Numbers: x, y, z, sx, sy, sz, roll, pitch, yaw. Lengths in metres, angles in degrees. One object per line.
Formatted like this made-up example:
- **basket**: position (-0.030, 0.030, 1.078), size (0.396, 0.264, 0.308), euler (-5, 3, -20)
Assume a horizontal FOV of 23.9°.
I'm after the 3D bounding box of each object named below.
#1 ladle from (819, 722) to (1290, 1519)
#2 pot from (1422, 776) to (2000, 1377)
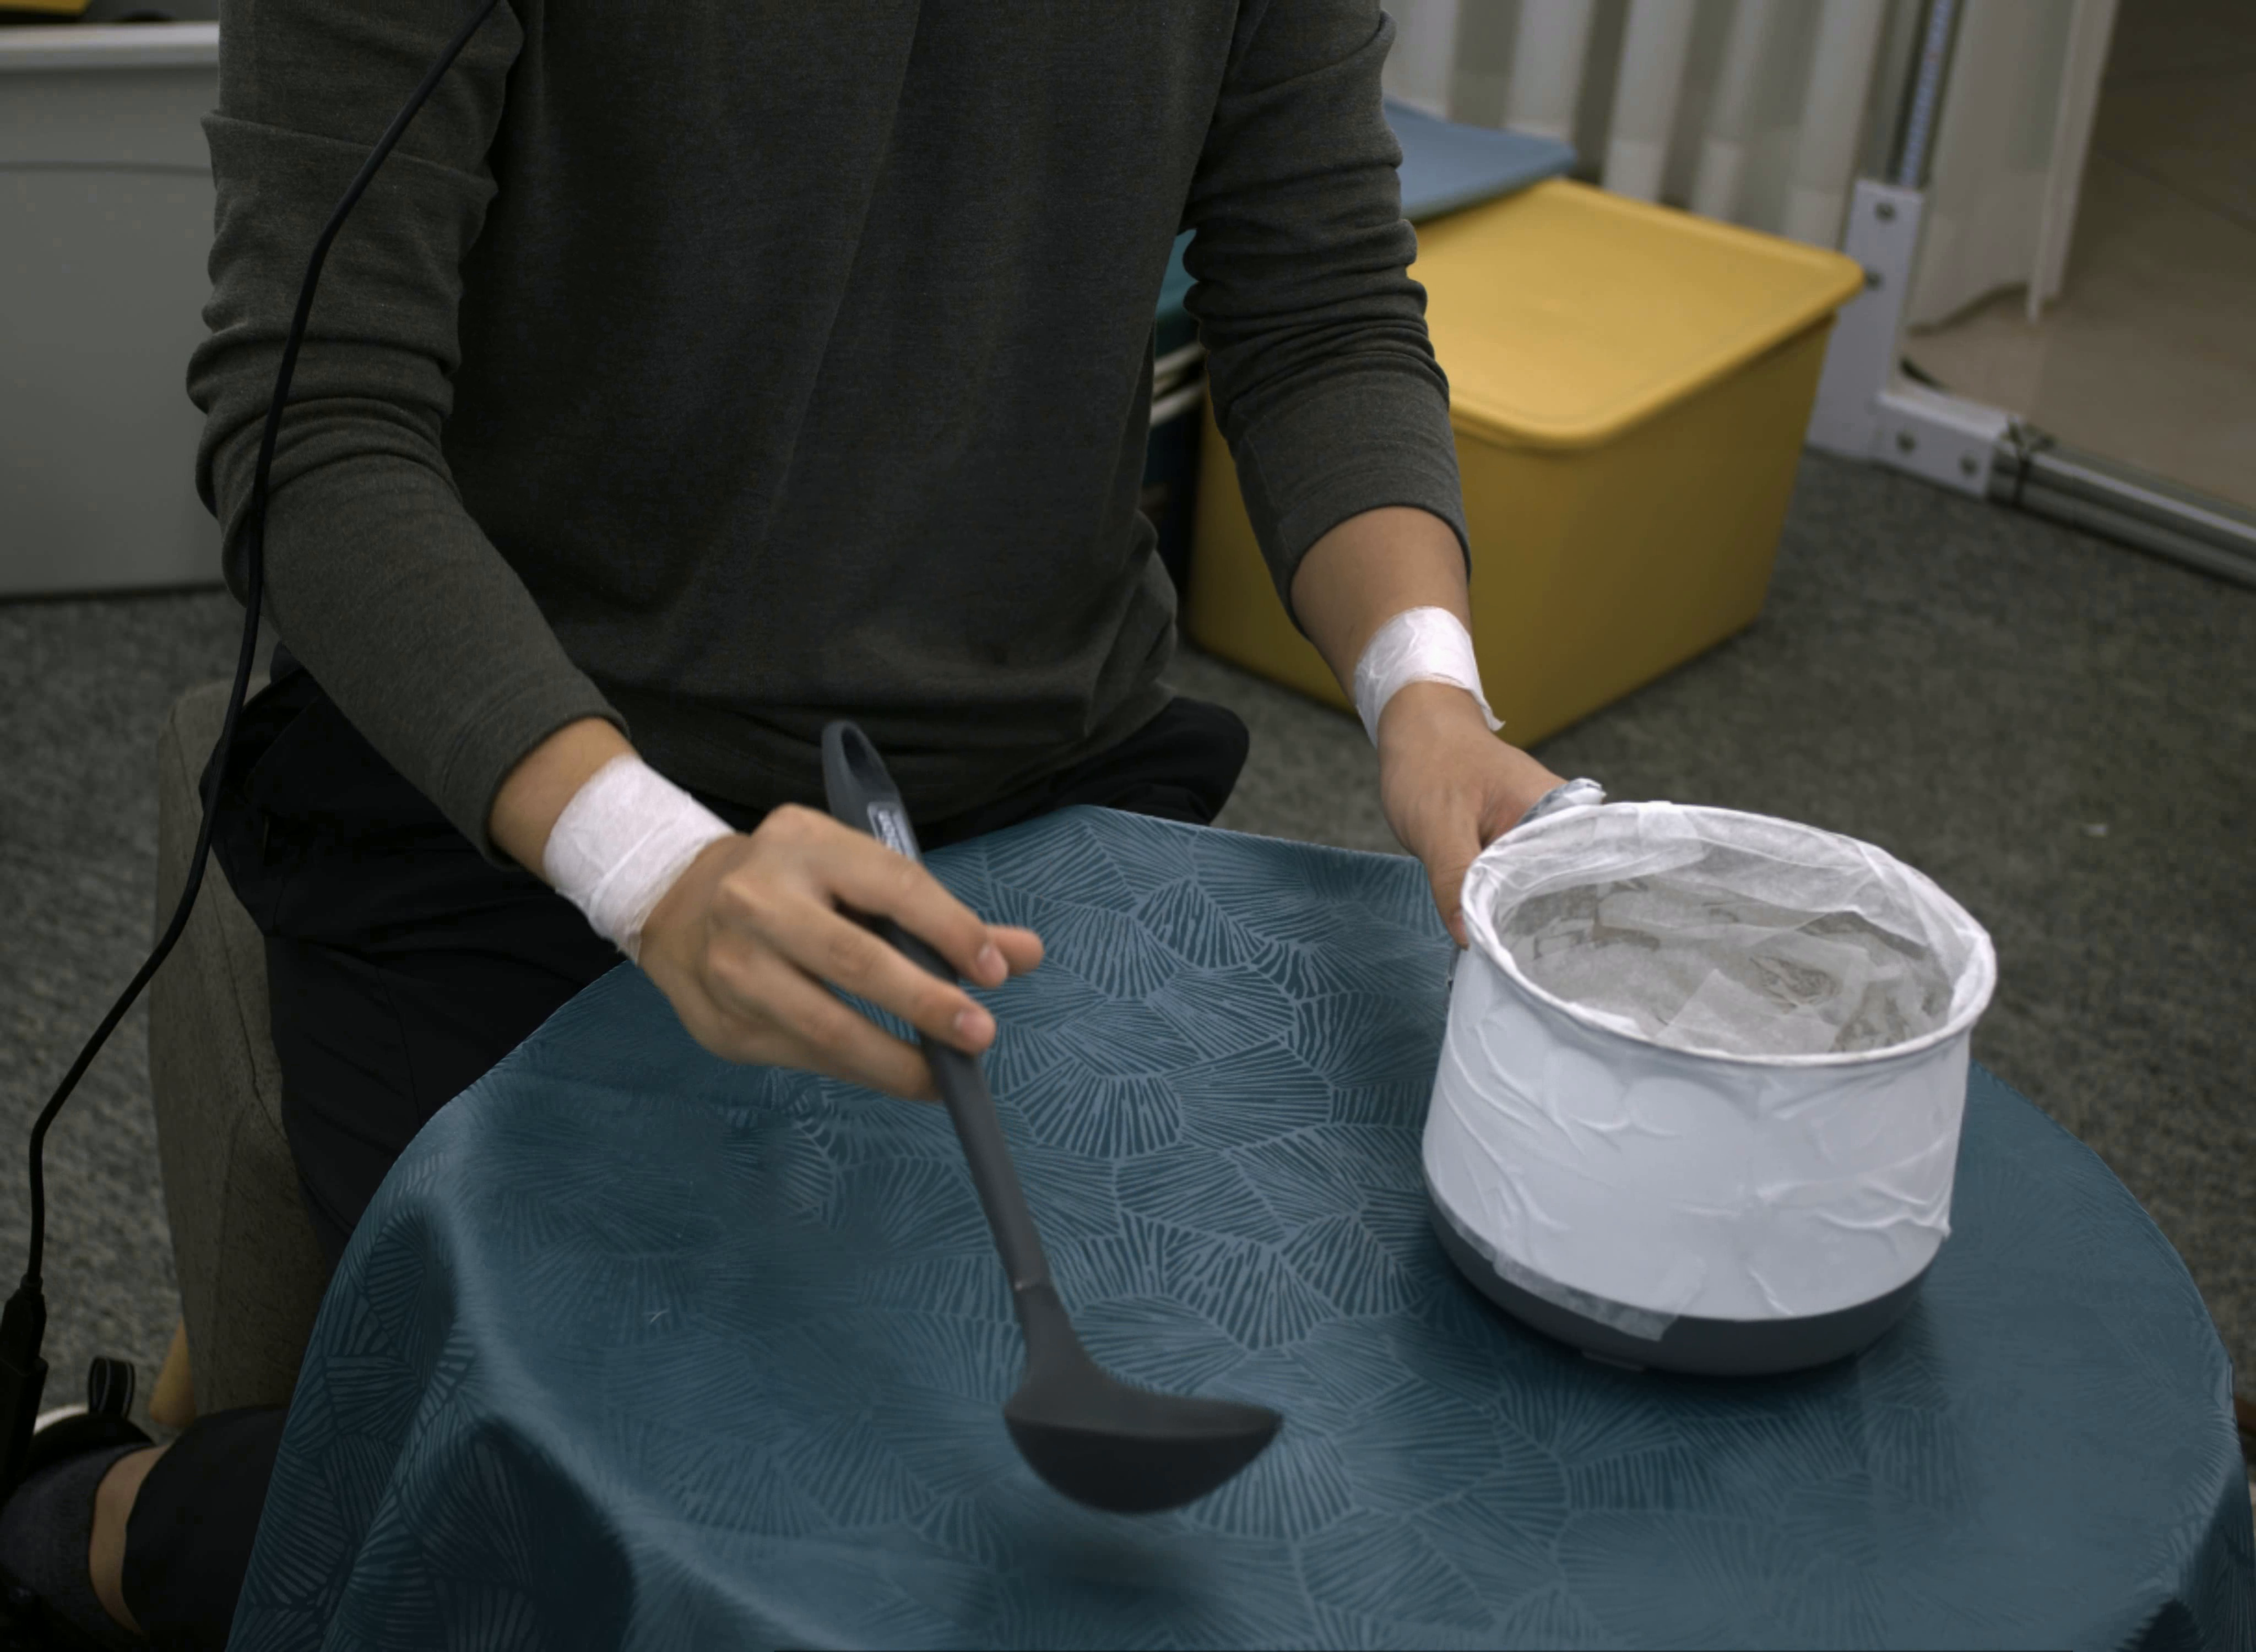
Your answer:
- **ladle**: position (-0.037, 0.078, 1.650), size (0.085, 0.064, 0.317), euler (5, 49, -35)
- **pot**: position (0.178, 0.077, 1.788), size (0.177, 0.136, 0.236), euler (-7, 29, -25)
